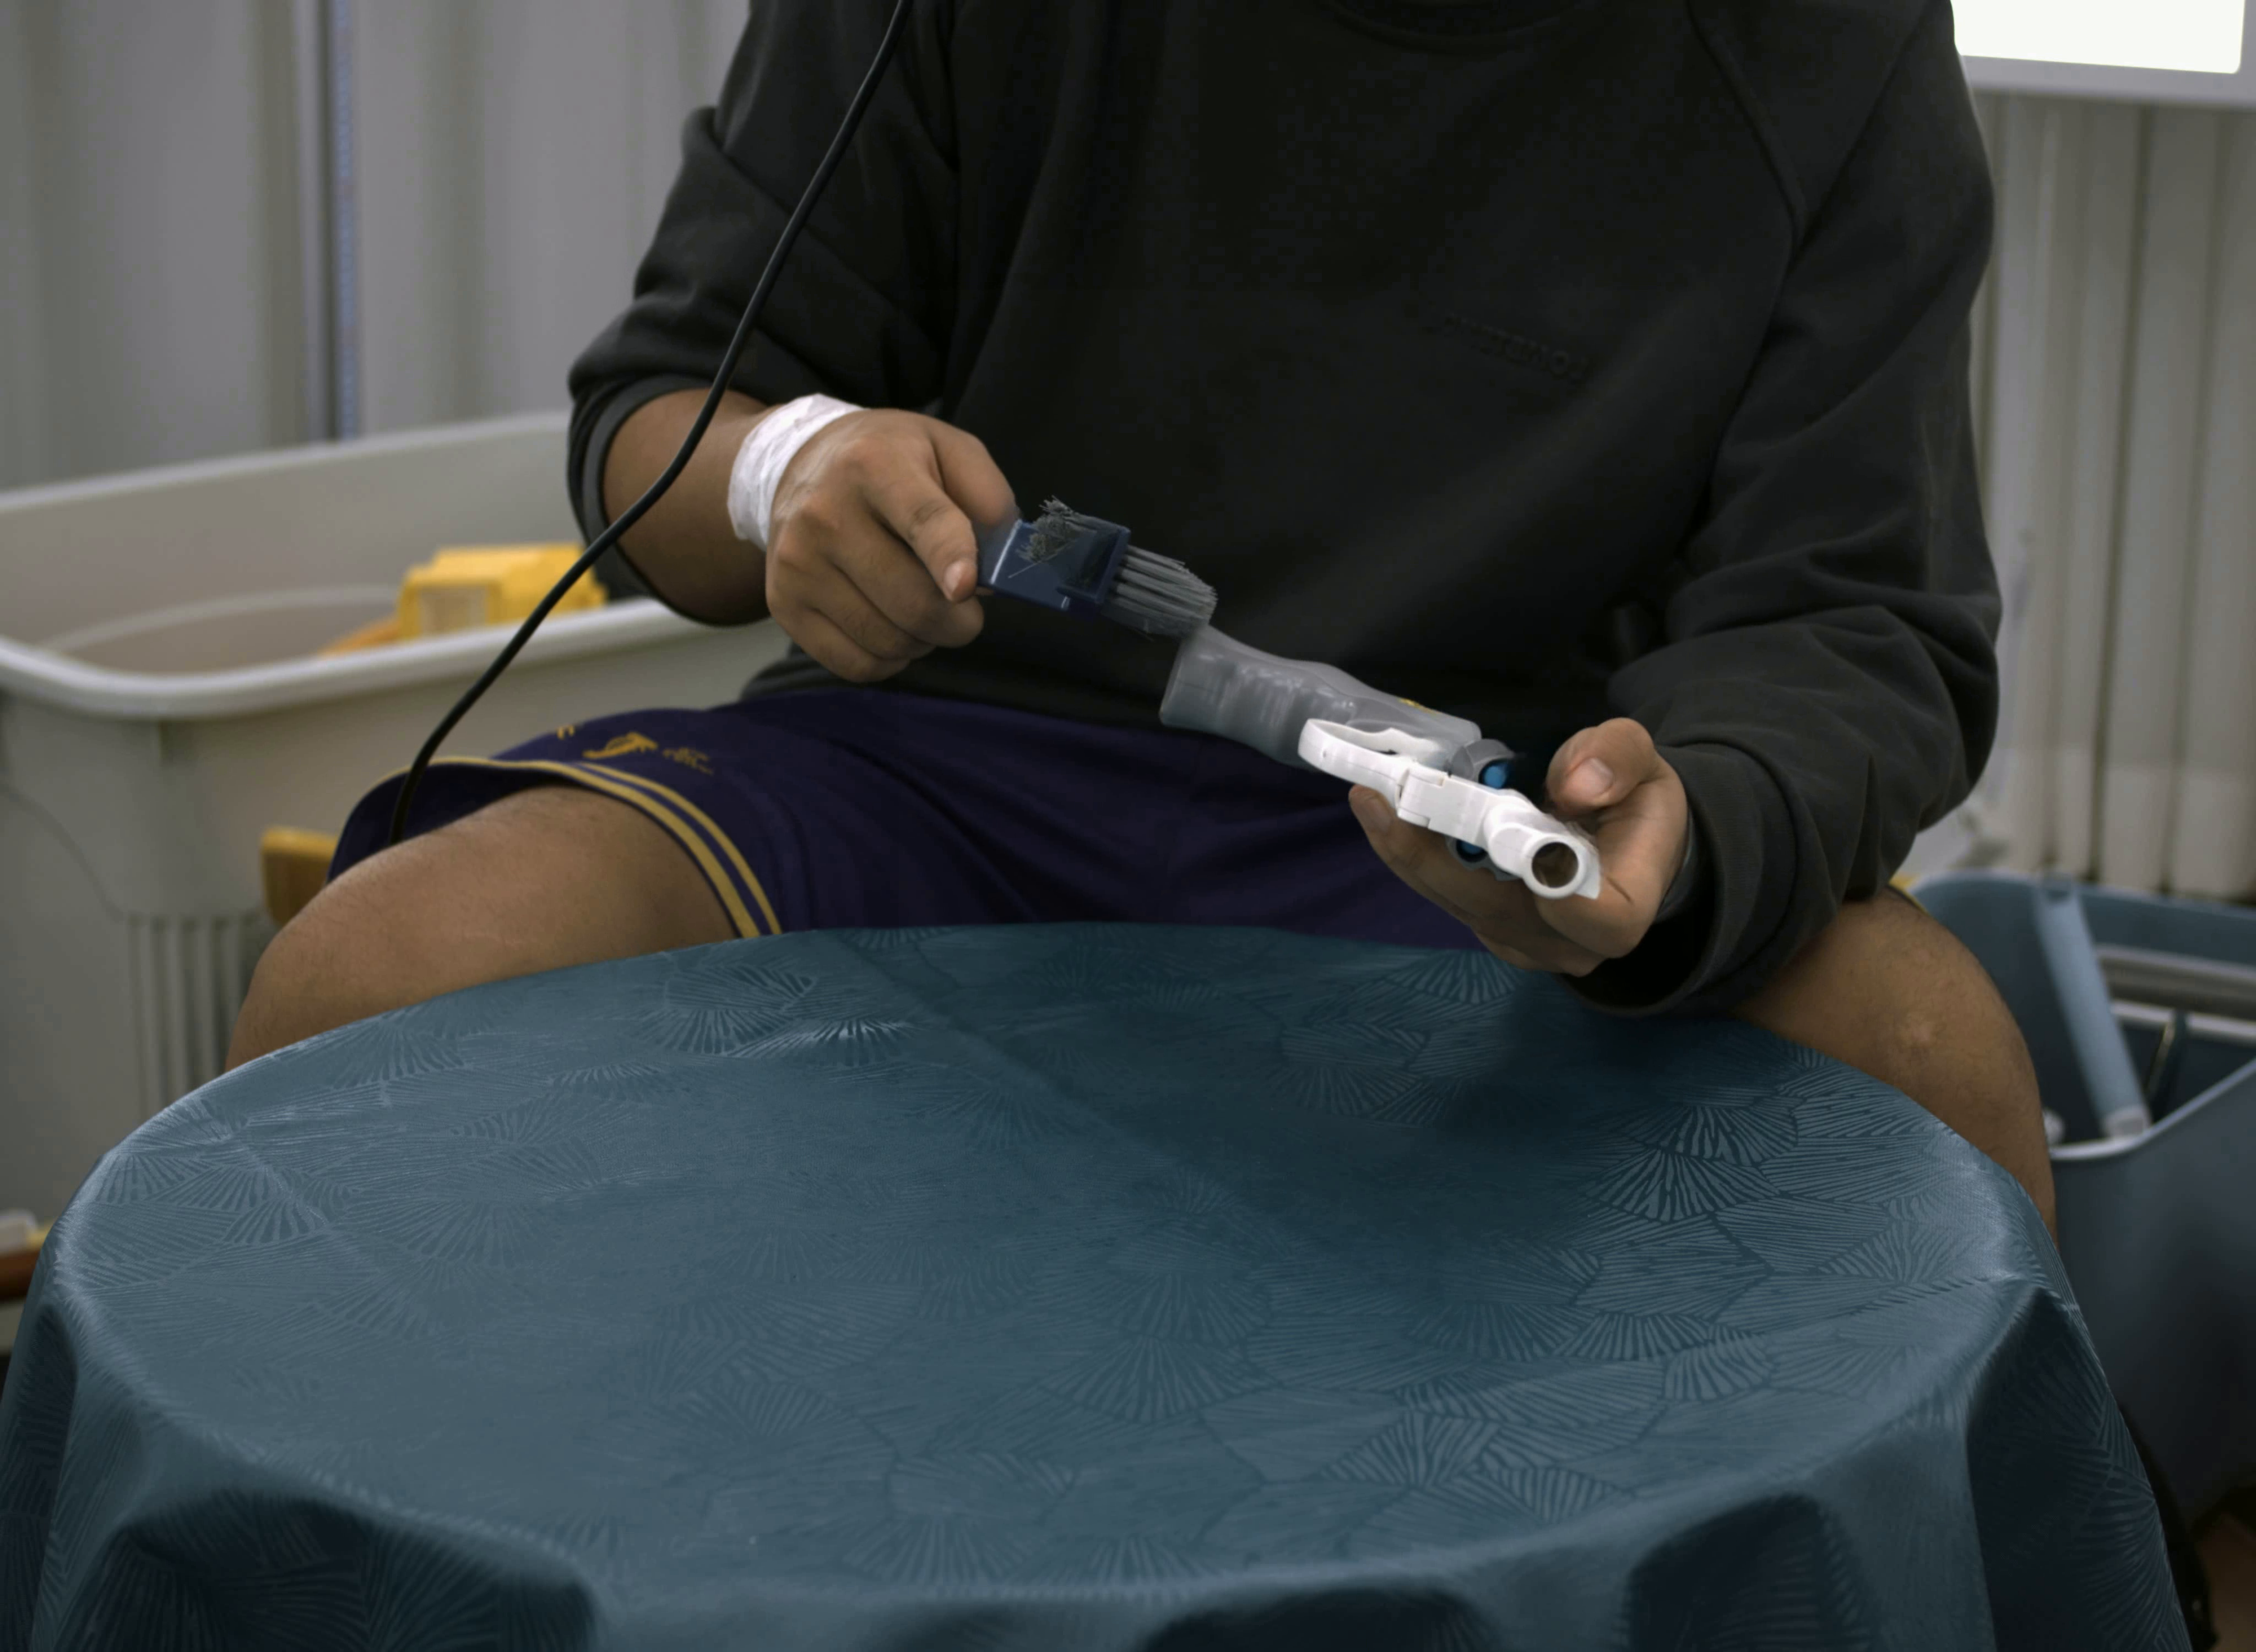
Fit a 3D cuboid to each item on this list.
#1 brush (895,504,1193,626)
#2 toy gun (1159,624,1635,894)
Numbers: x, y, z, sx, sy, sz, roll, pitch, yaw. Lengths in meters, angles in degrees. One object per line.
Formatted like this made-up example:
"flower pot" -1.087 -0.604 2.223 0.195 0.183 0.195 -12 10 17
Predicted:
"brush" -0.049 -0.092 1.749 0.096 0.033 0.270 19 -2 -25
"toy gun" 0.082 -0.019 1.629 0.141 0.039 0.208 18 7 -3
